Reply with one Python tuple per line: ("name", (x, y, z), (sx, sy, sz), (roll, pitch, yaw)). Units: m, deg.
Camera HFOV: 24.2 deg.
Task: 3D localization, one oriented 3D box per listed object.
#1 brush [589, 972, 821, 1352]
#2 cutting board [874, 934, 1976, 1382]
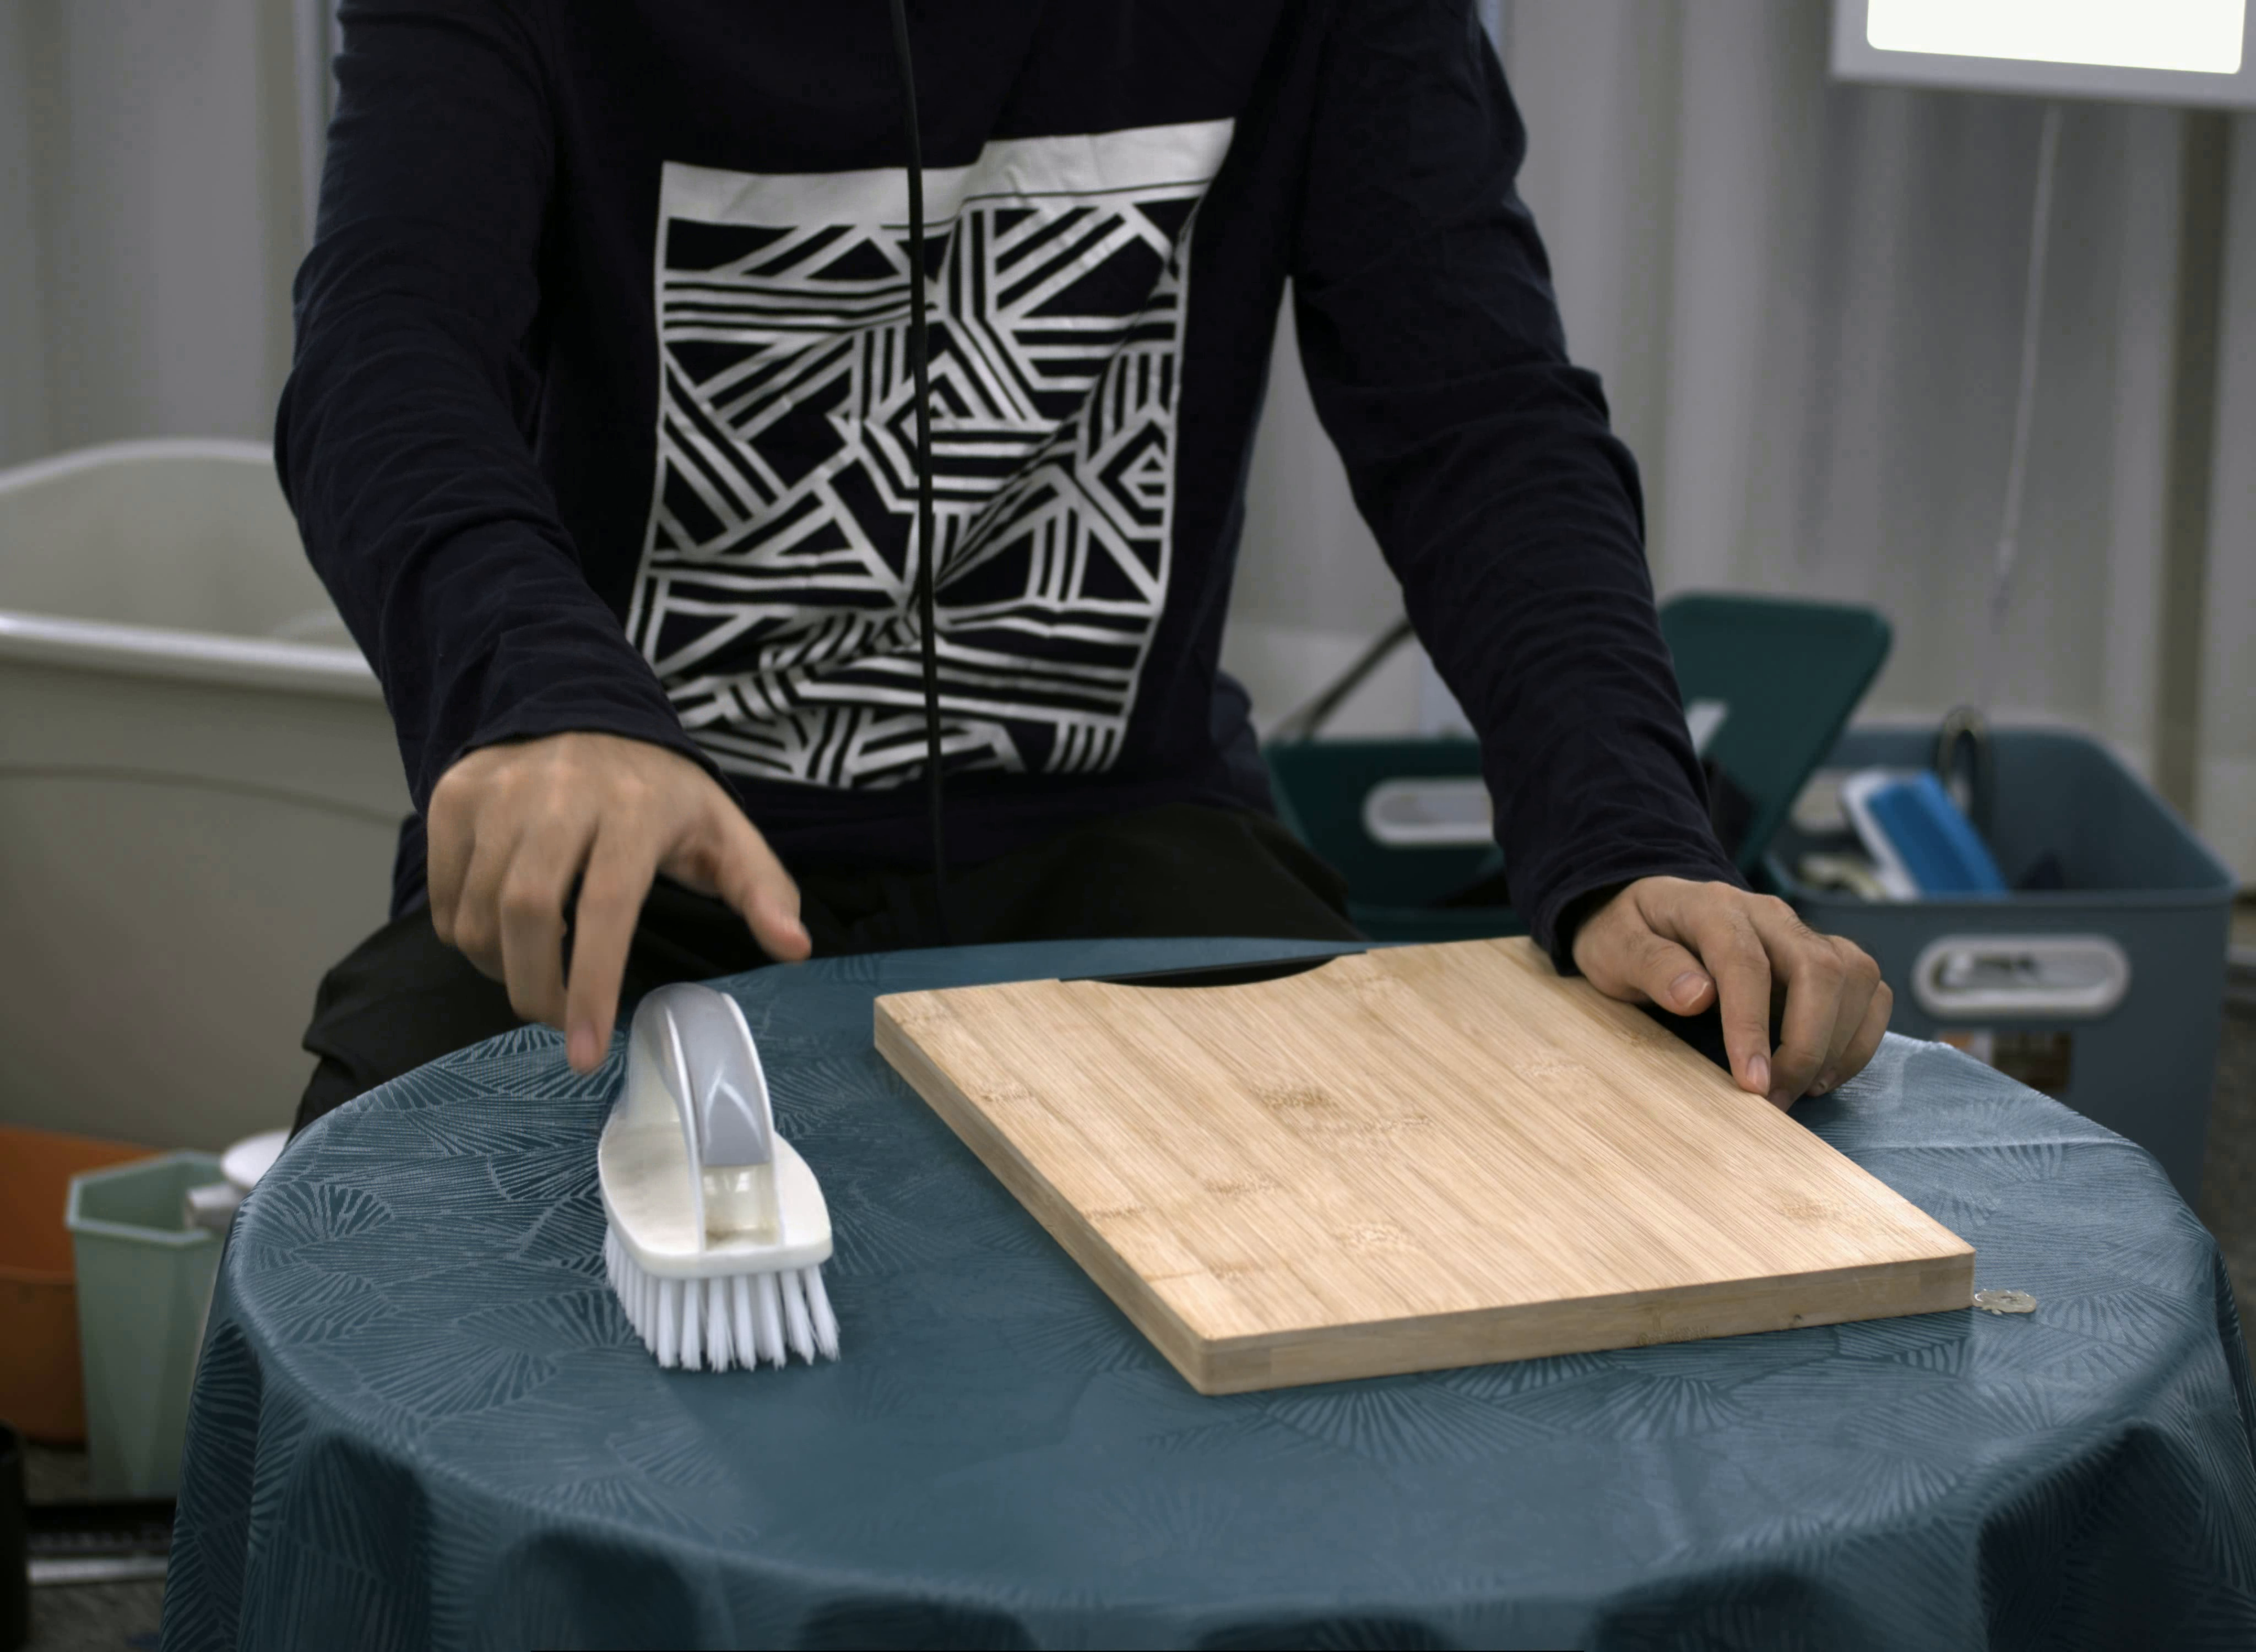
("brush", (-0.129, 0.087, 1.538), (0.061, 0.095, 0.174), (-2, 13, -13))
("cutting board", (0.080, 0.098, 1.652), (0.251, 0.024, 0.345), (-4, 16, -19))
